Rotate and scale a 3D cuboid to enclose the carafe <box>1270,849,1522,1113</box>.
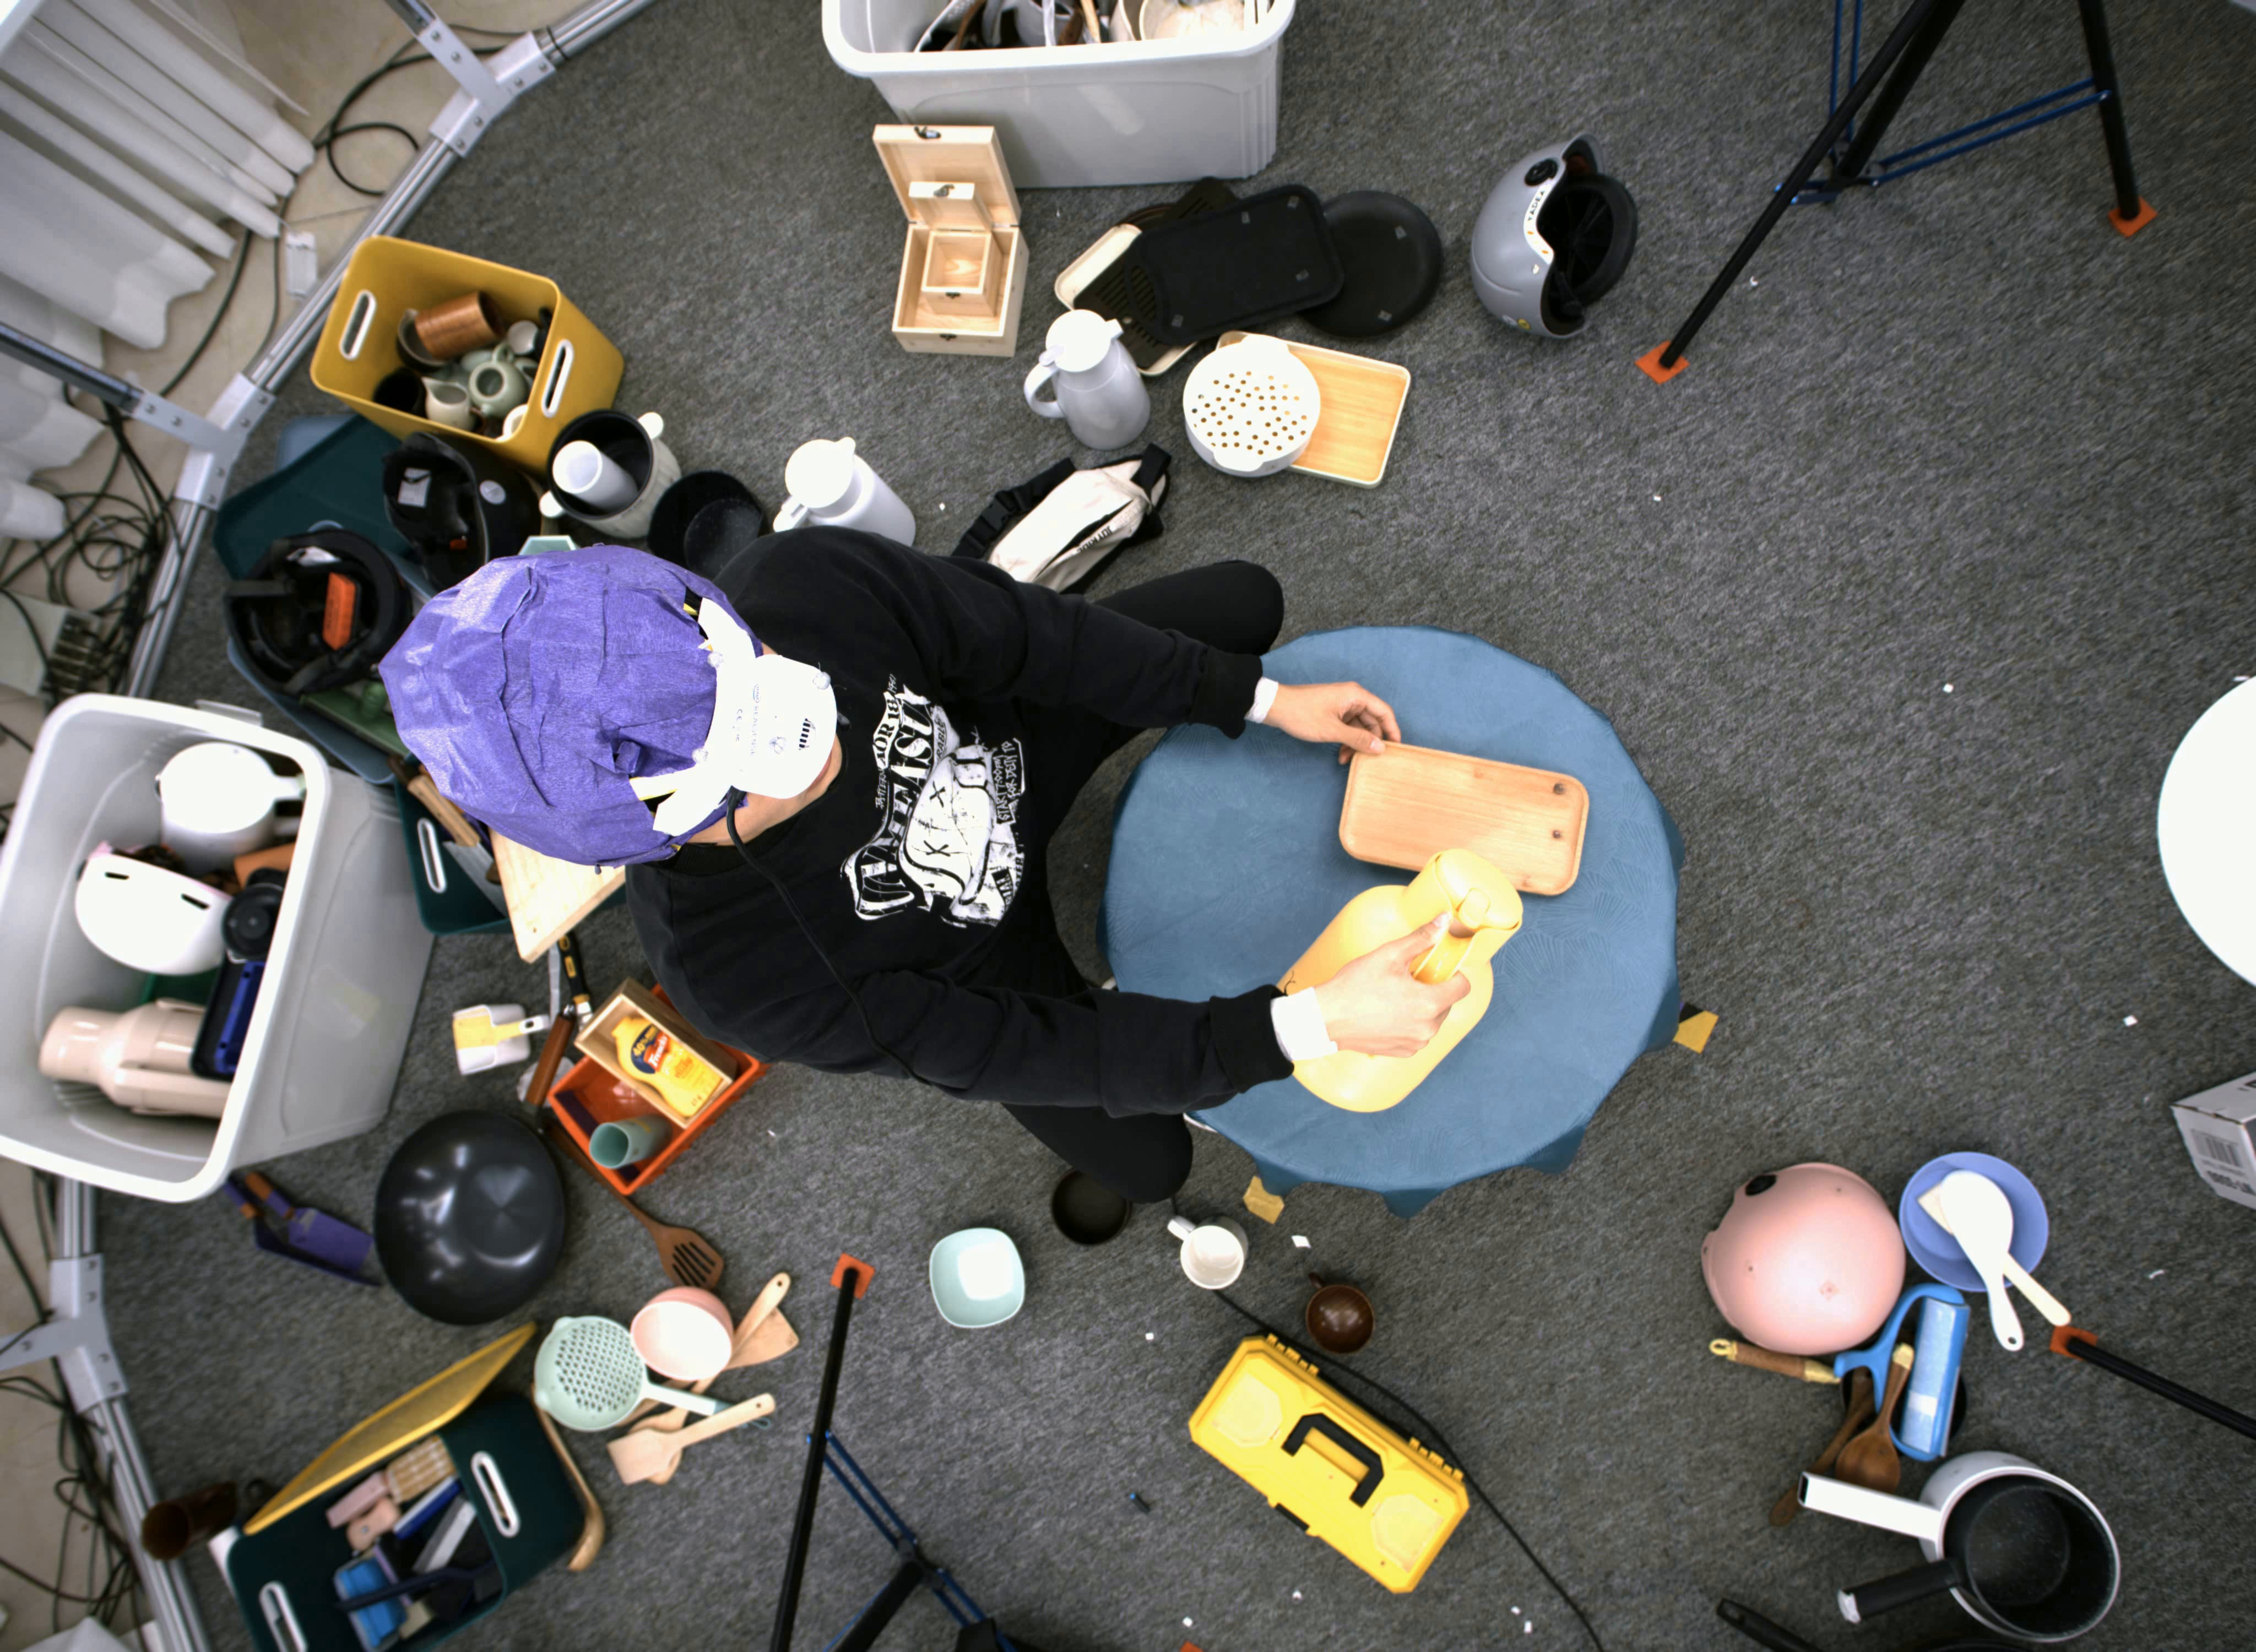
[{"bbox_3d":[0.246,0.143,1.269,0.163,0.198,0.267,36,124,6],"label":"carafe"}]

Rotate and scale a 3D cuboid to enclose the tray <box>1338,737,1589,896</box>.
[{"bbox_3d":[0.346,-0.011,1.422,0.251,0.023,0.130,11,87,2],"label":"tray"}]
